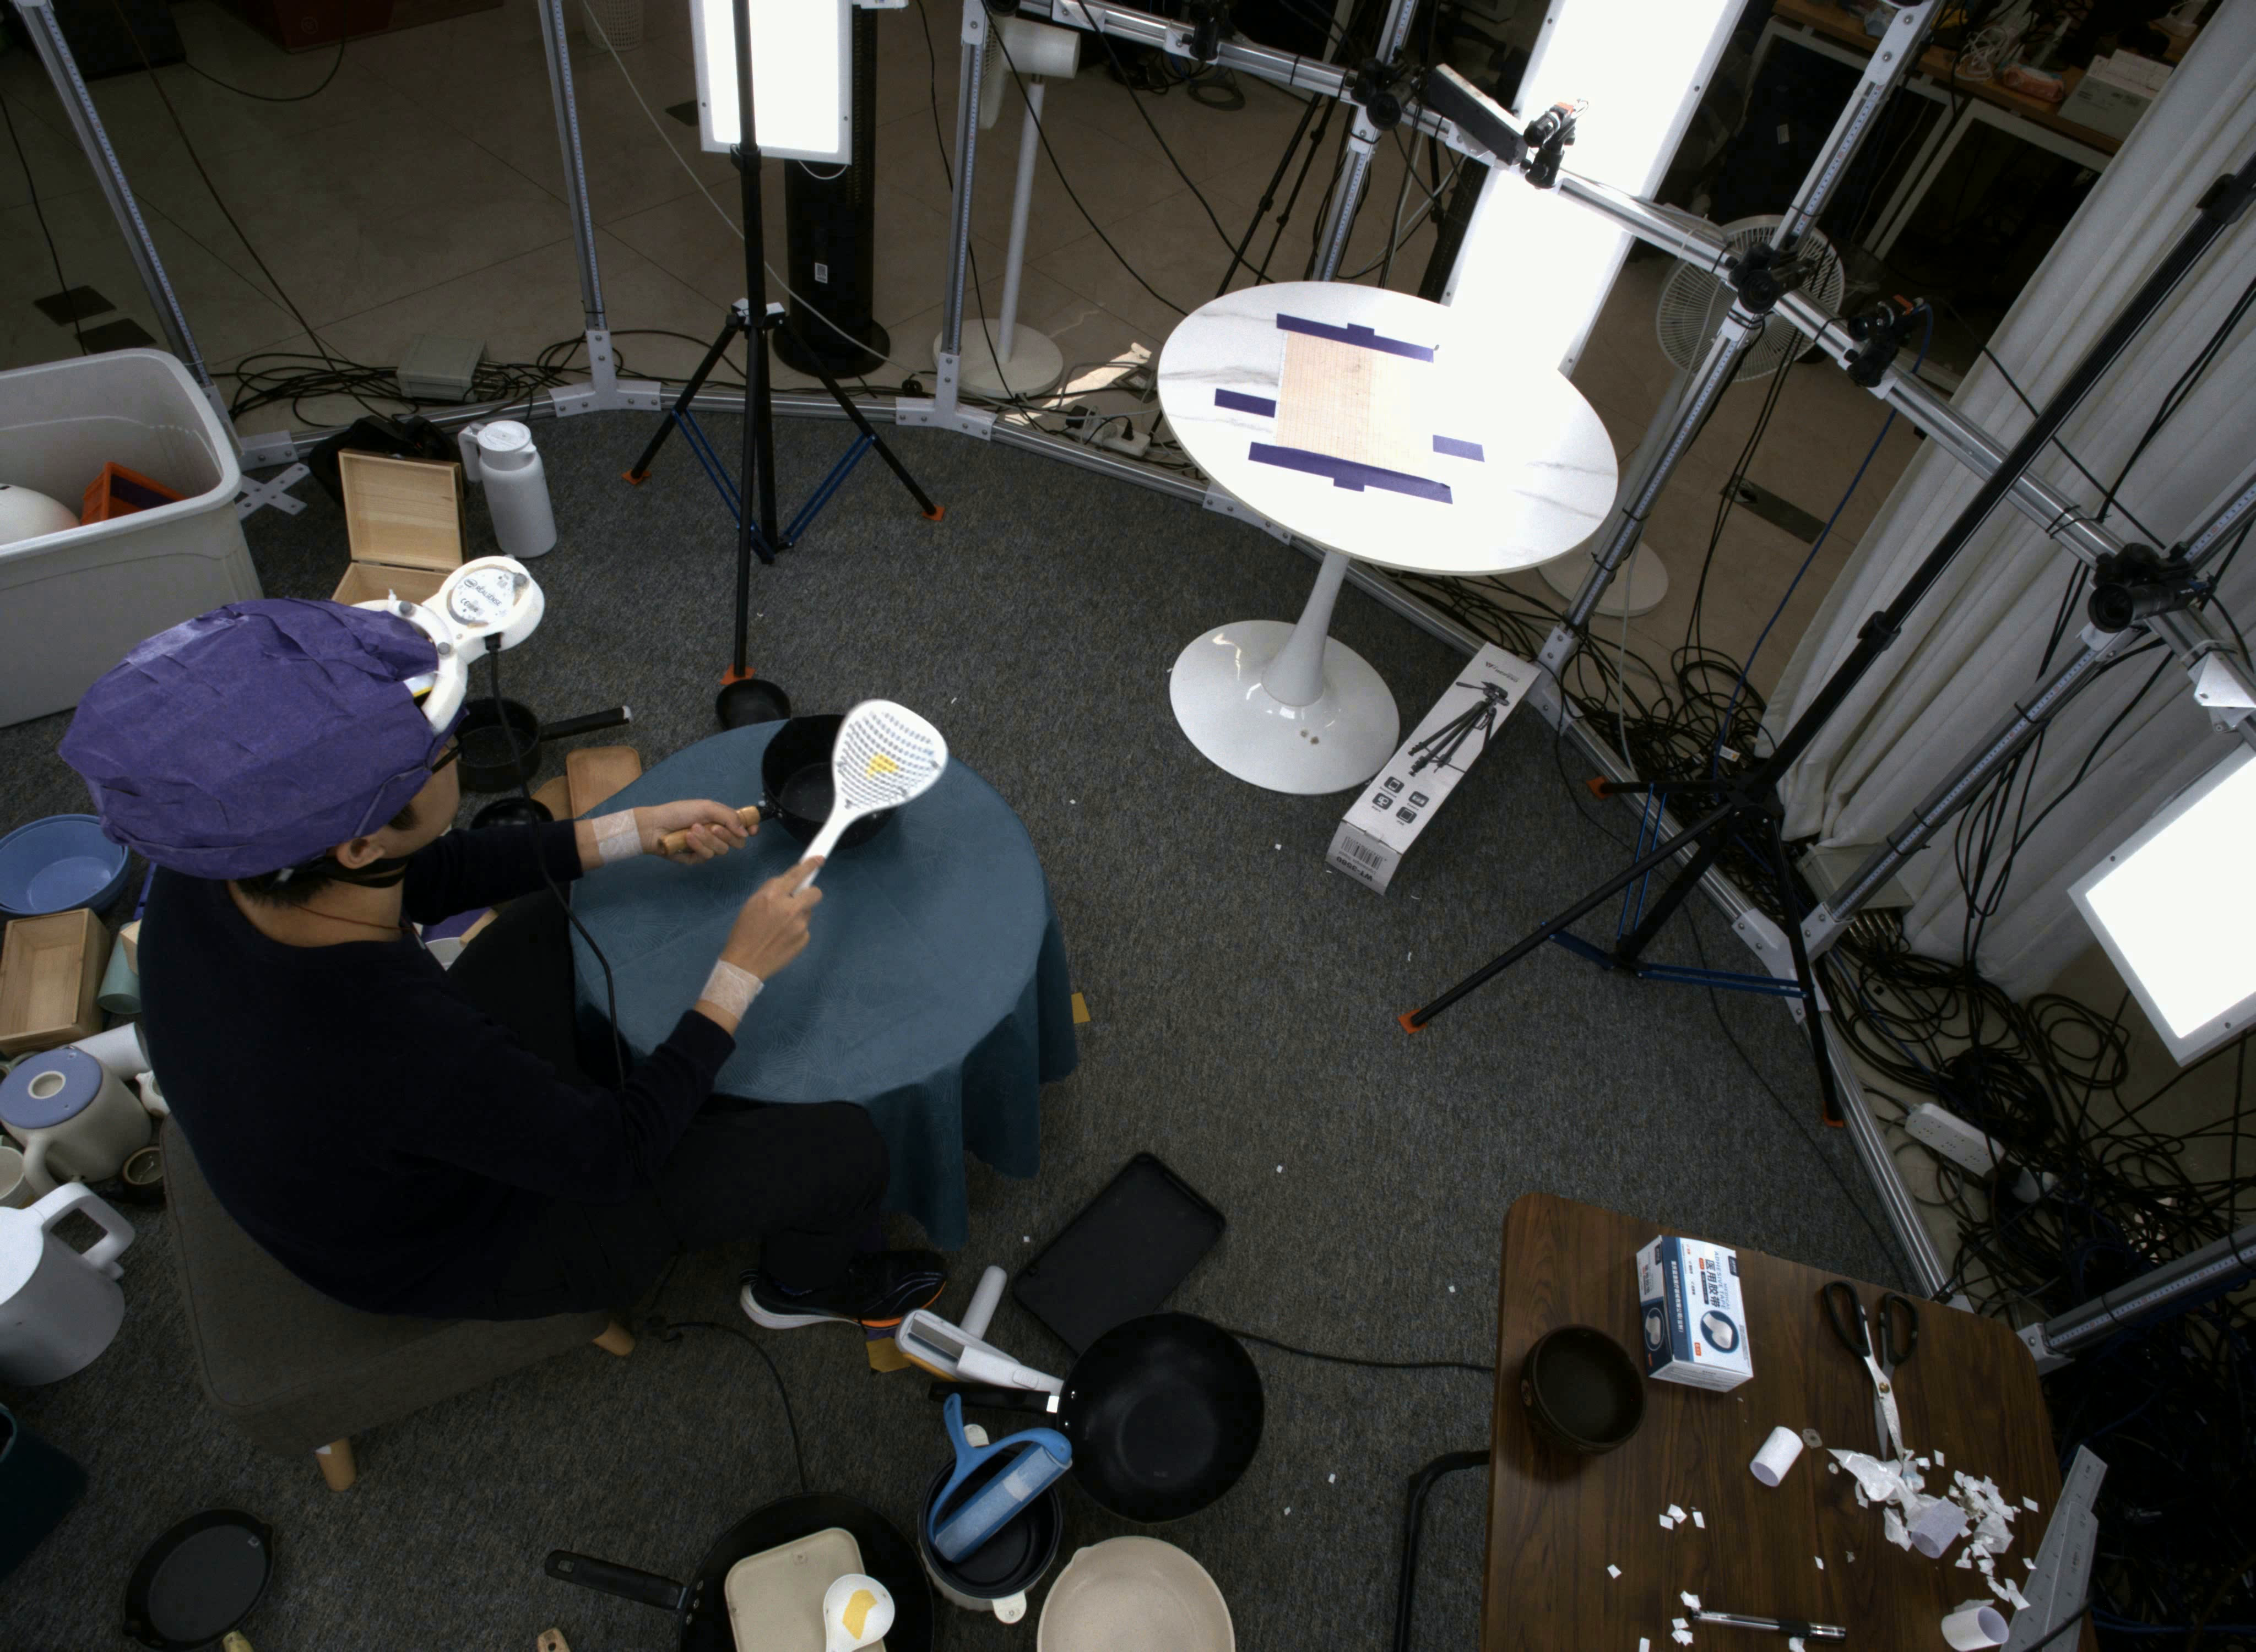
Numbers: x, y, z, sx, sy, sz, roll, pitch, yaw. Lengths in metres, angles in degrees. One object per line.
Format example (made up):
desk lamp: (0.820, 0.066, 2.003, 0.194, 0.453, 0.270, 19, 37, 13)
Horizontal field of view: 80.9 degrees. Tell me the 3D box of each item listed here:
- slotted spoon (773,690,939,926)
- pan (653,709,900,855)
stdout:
slotted spoon: (-0.344, -0.025, 1.564, 0.138, 0.050, 0.344, 32, 48, -10)
pan: (-0.445, -0.024, 1.654, 0.344, 0.110, 0.203, -33, 70, -33)
